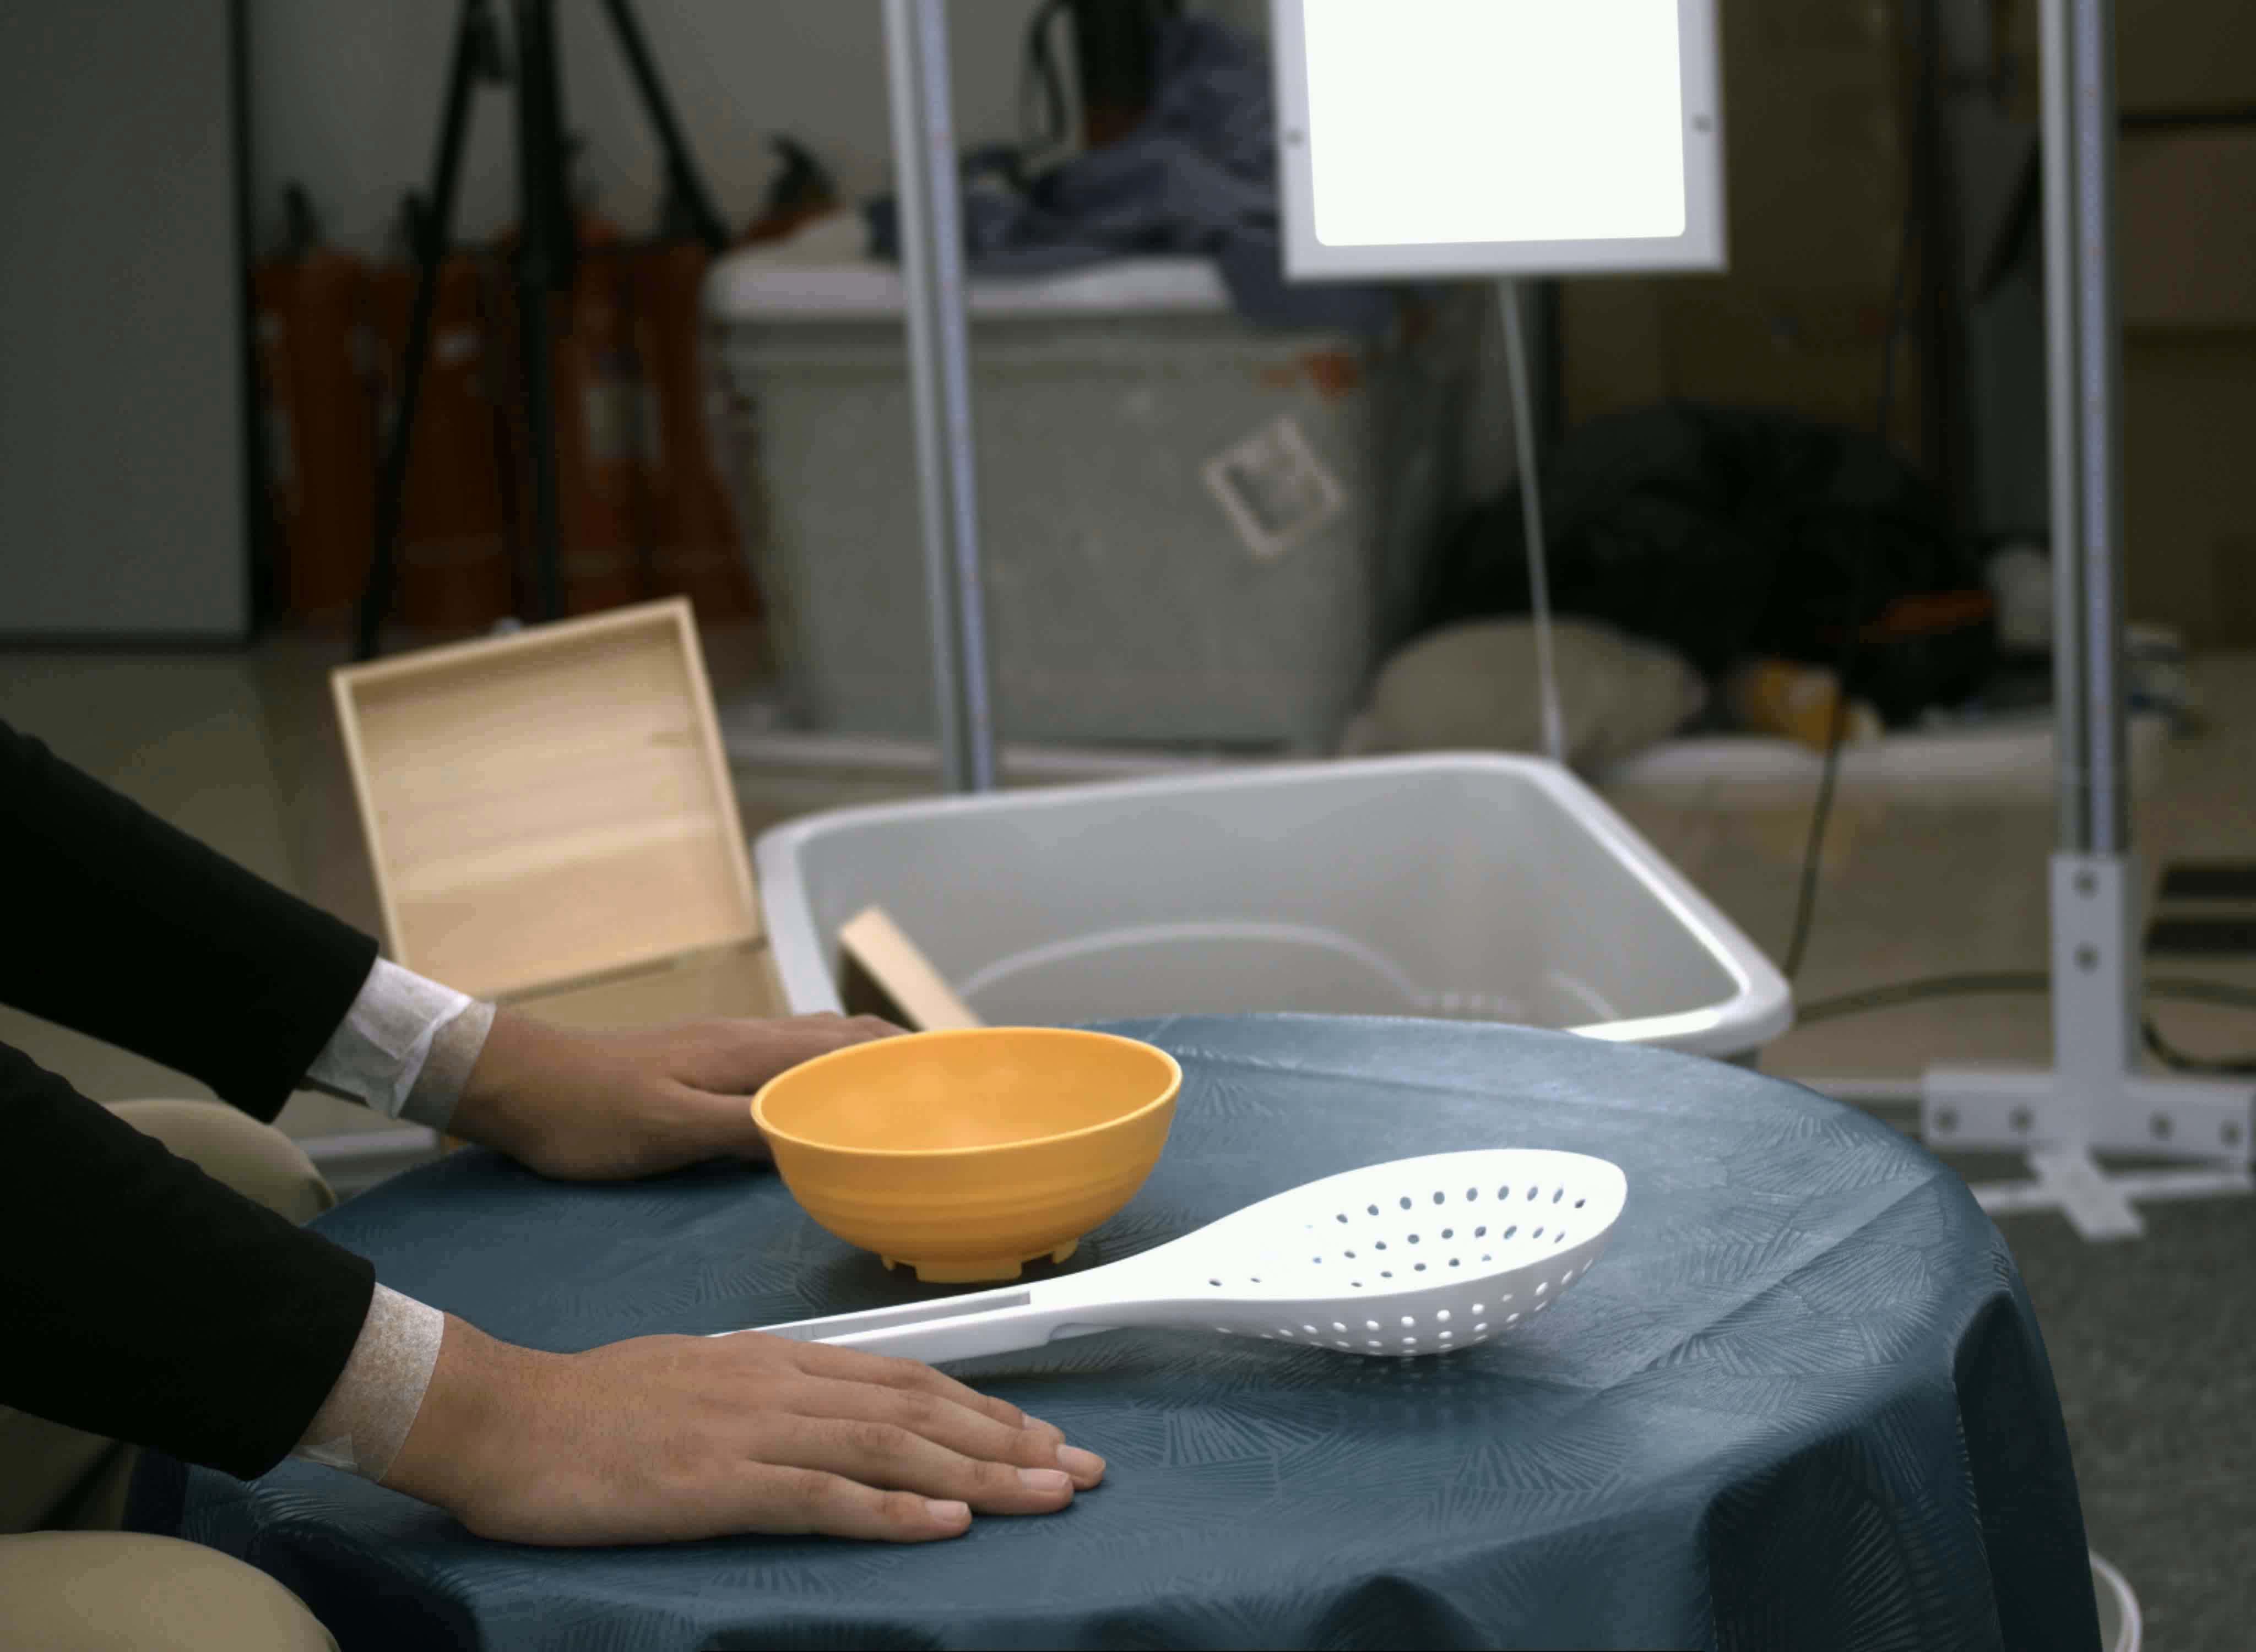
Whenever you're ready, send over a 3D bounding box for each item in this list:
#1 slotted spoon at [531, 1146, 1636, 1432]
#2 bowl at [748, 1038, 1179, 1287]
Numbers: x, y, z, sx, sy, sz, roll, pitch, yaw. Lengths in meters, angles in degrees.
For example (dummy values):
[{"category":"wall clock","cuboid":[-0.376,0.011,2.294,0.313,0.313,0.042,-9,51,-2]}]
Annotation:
[{"category":"slotted spoon","cuboid":[-0.014,0.149,1.717,0.349,0.046,0.136,-6,13,1]},{"category":"bowl","cuboid":[-0.054,0.116,1.841,0.145,0.060,0.145,-4,12,-1]}]
